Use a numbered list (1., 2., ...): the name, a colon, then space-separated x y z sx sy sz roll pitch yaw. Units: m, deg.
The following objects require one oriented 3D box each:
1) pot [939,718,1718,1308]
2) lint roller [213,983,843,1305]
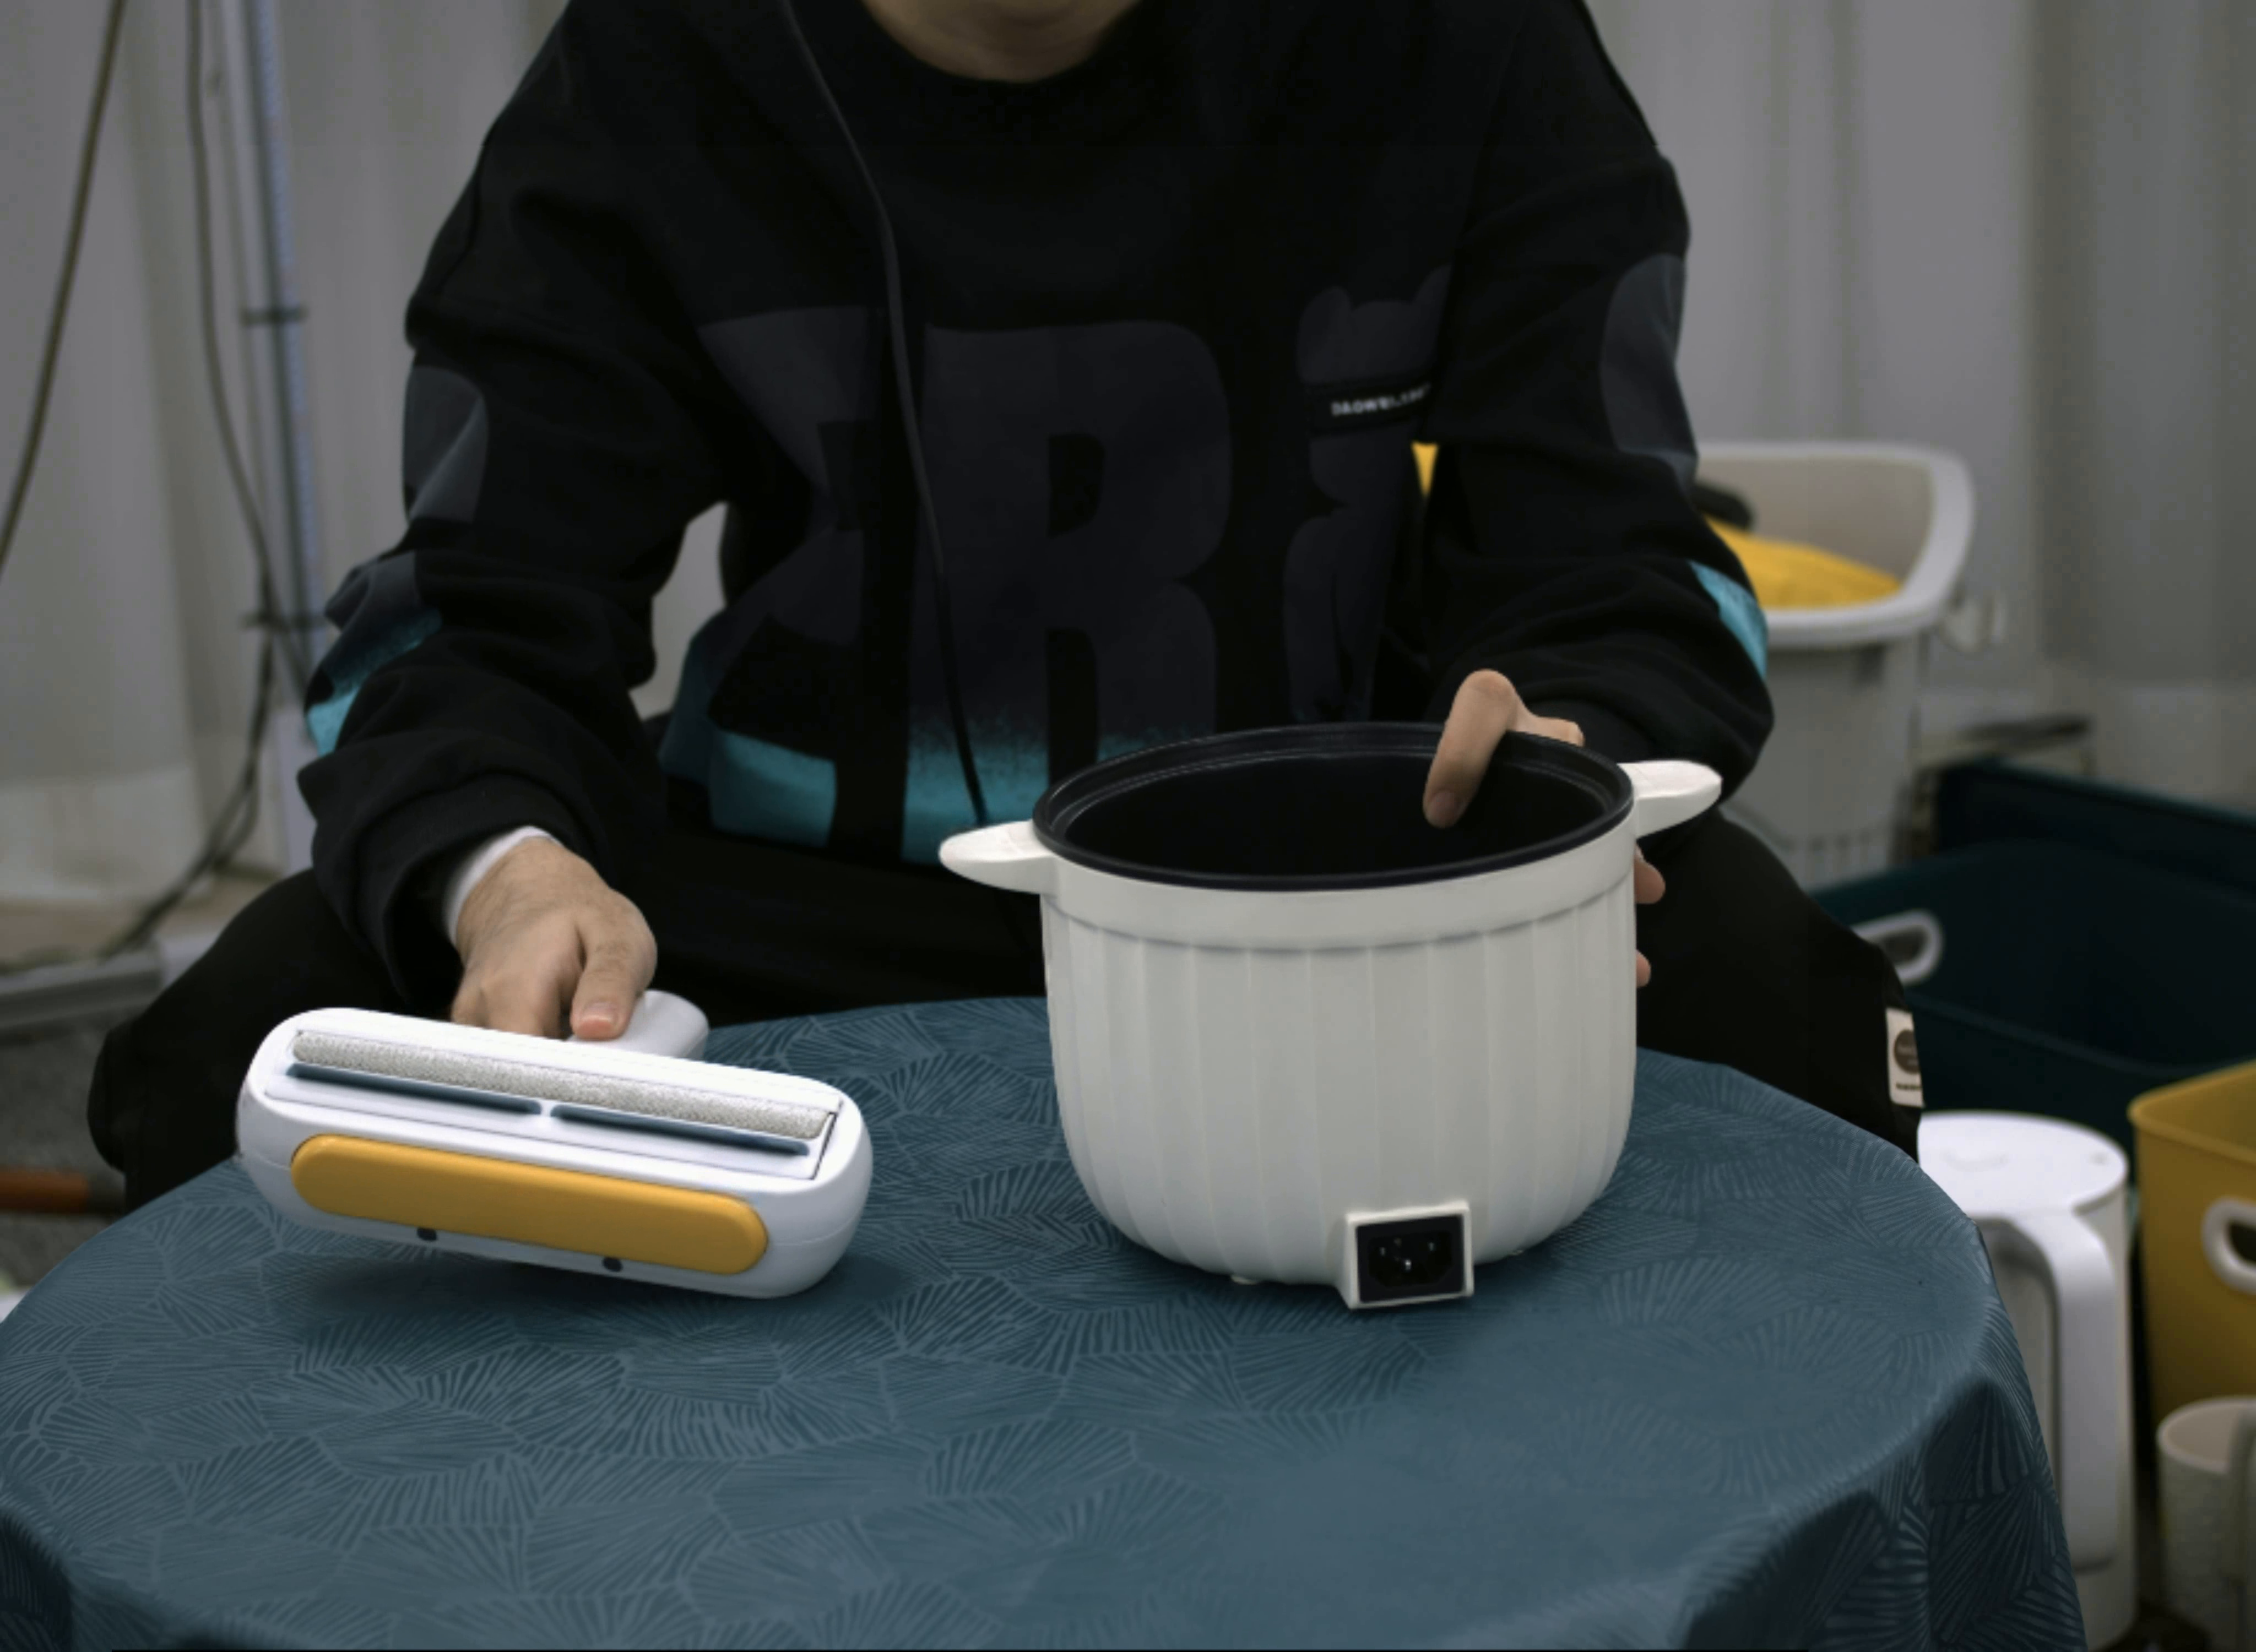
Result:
1. pot: 0.062 0.053 1.662 0.239 0.142 0.192 -4 17 -10
2. lint roller: -0.168 0.081 1.708 0.193 0.073 0.194 6 25 12
